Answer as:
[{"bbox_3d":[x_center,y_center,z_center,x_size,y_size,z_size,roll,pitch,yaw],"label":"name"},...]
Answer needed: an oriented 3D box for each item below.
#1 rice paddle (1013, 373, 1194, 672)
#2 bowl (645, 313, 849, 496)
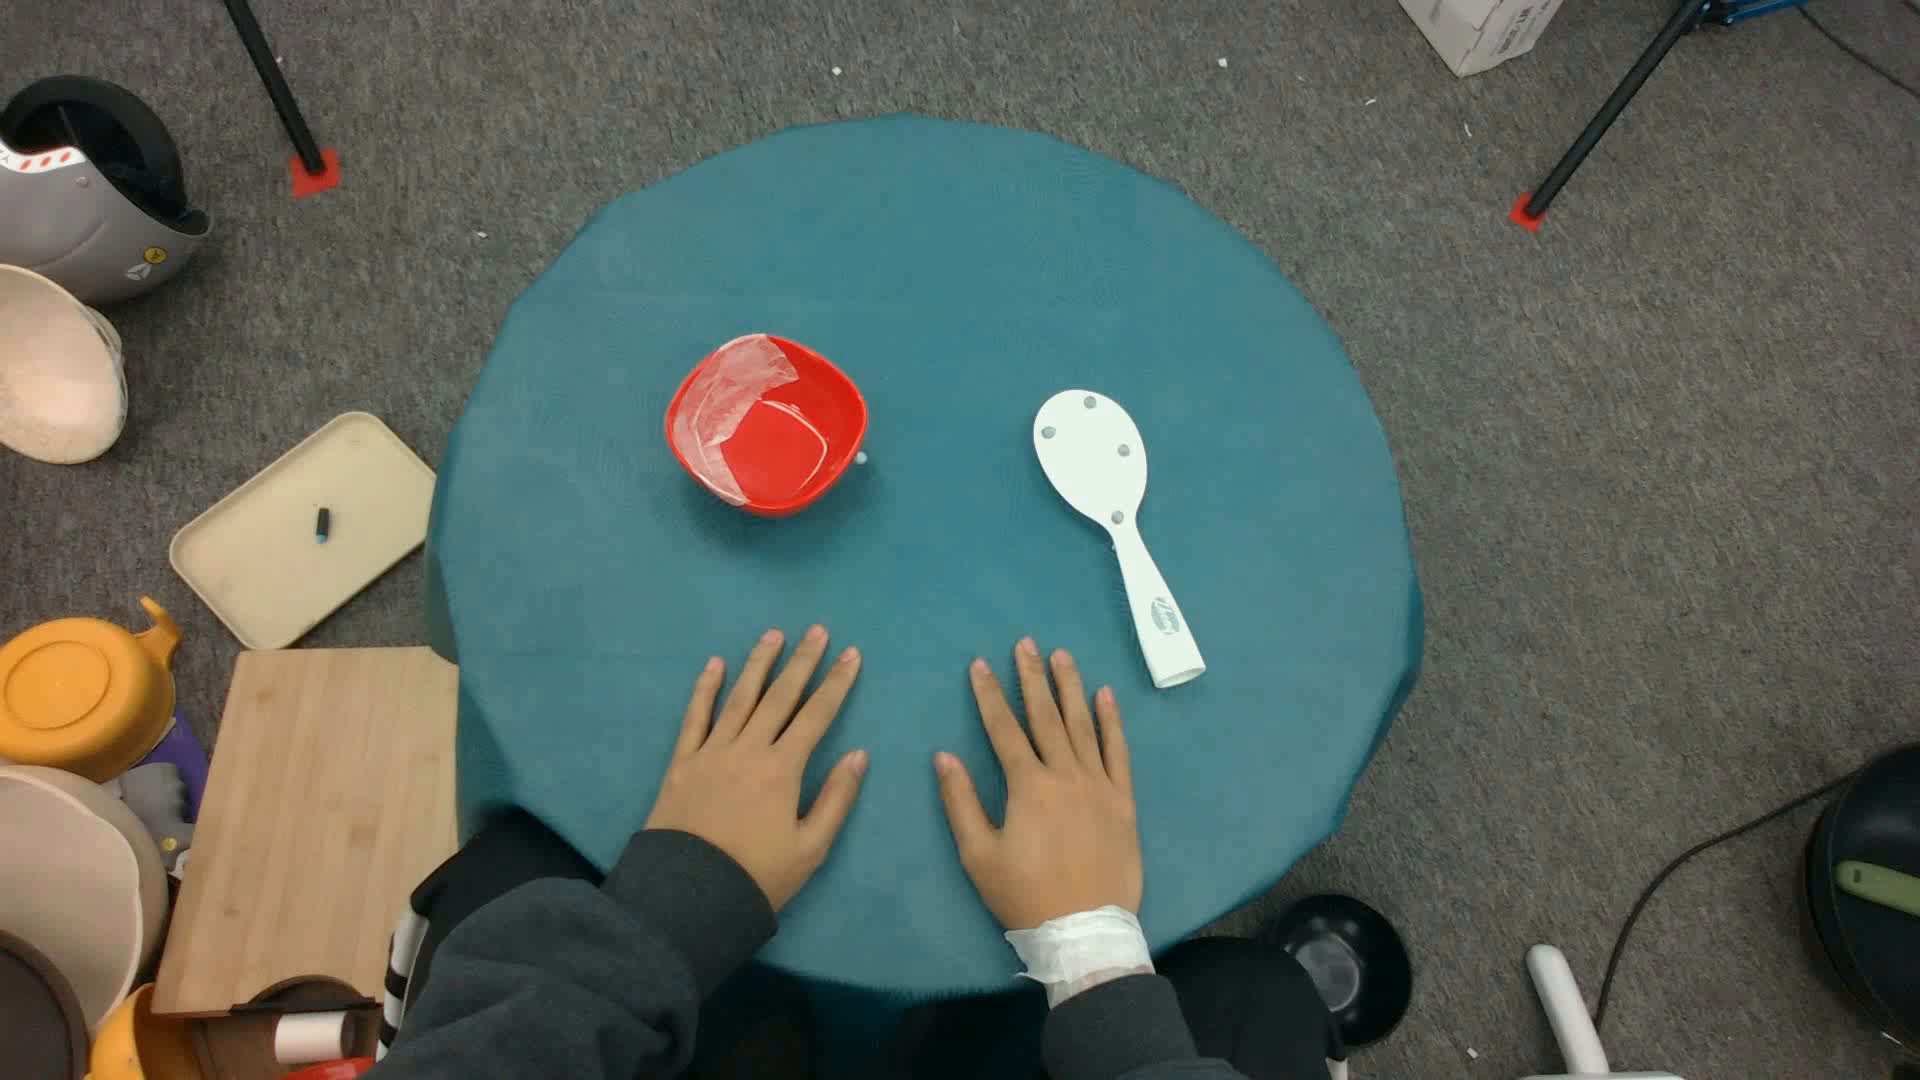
[{"bbox_3d":[0.089,-0.018,0.845,0.069,0.029,0.205,-15,69,-16],"label":"rice paddle"},{"bbox_3d":[-0.127,-0.073,0.828,0.119,0.051,0.119,3,65,-7],"label":"bowl"}]
